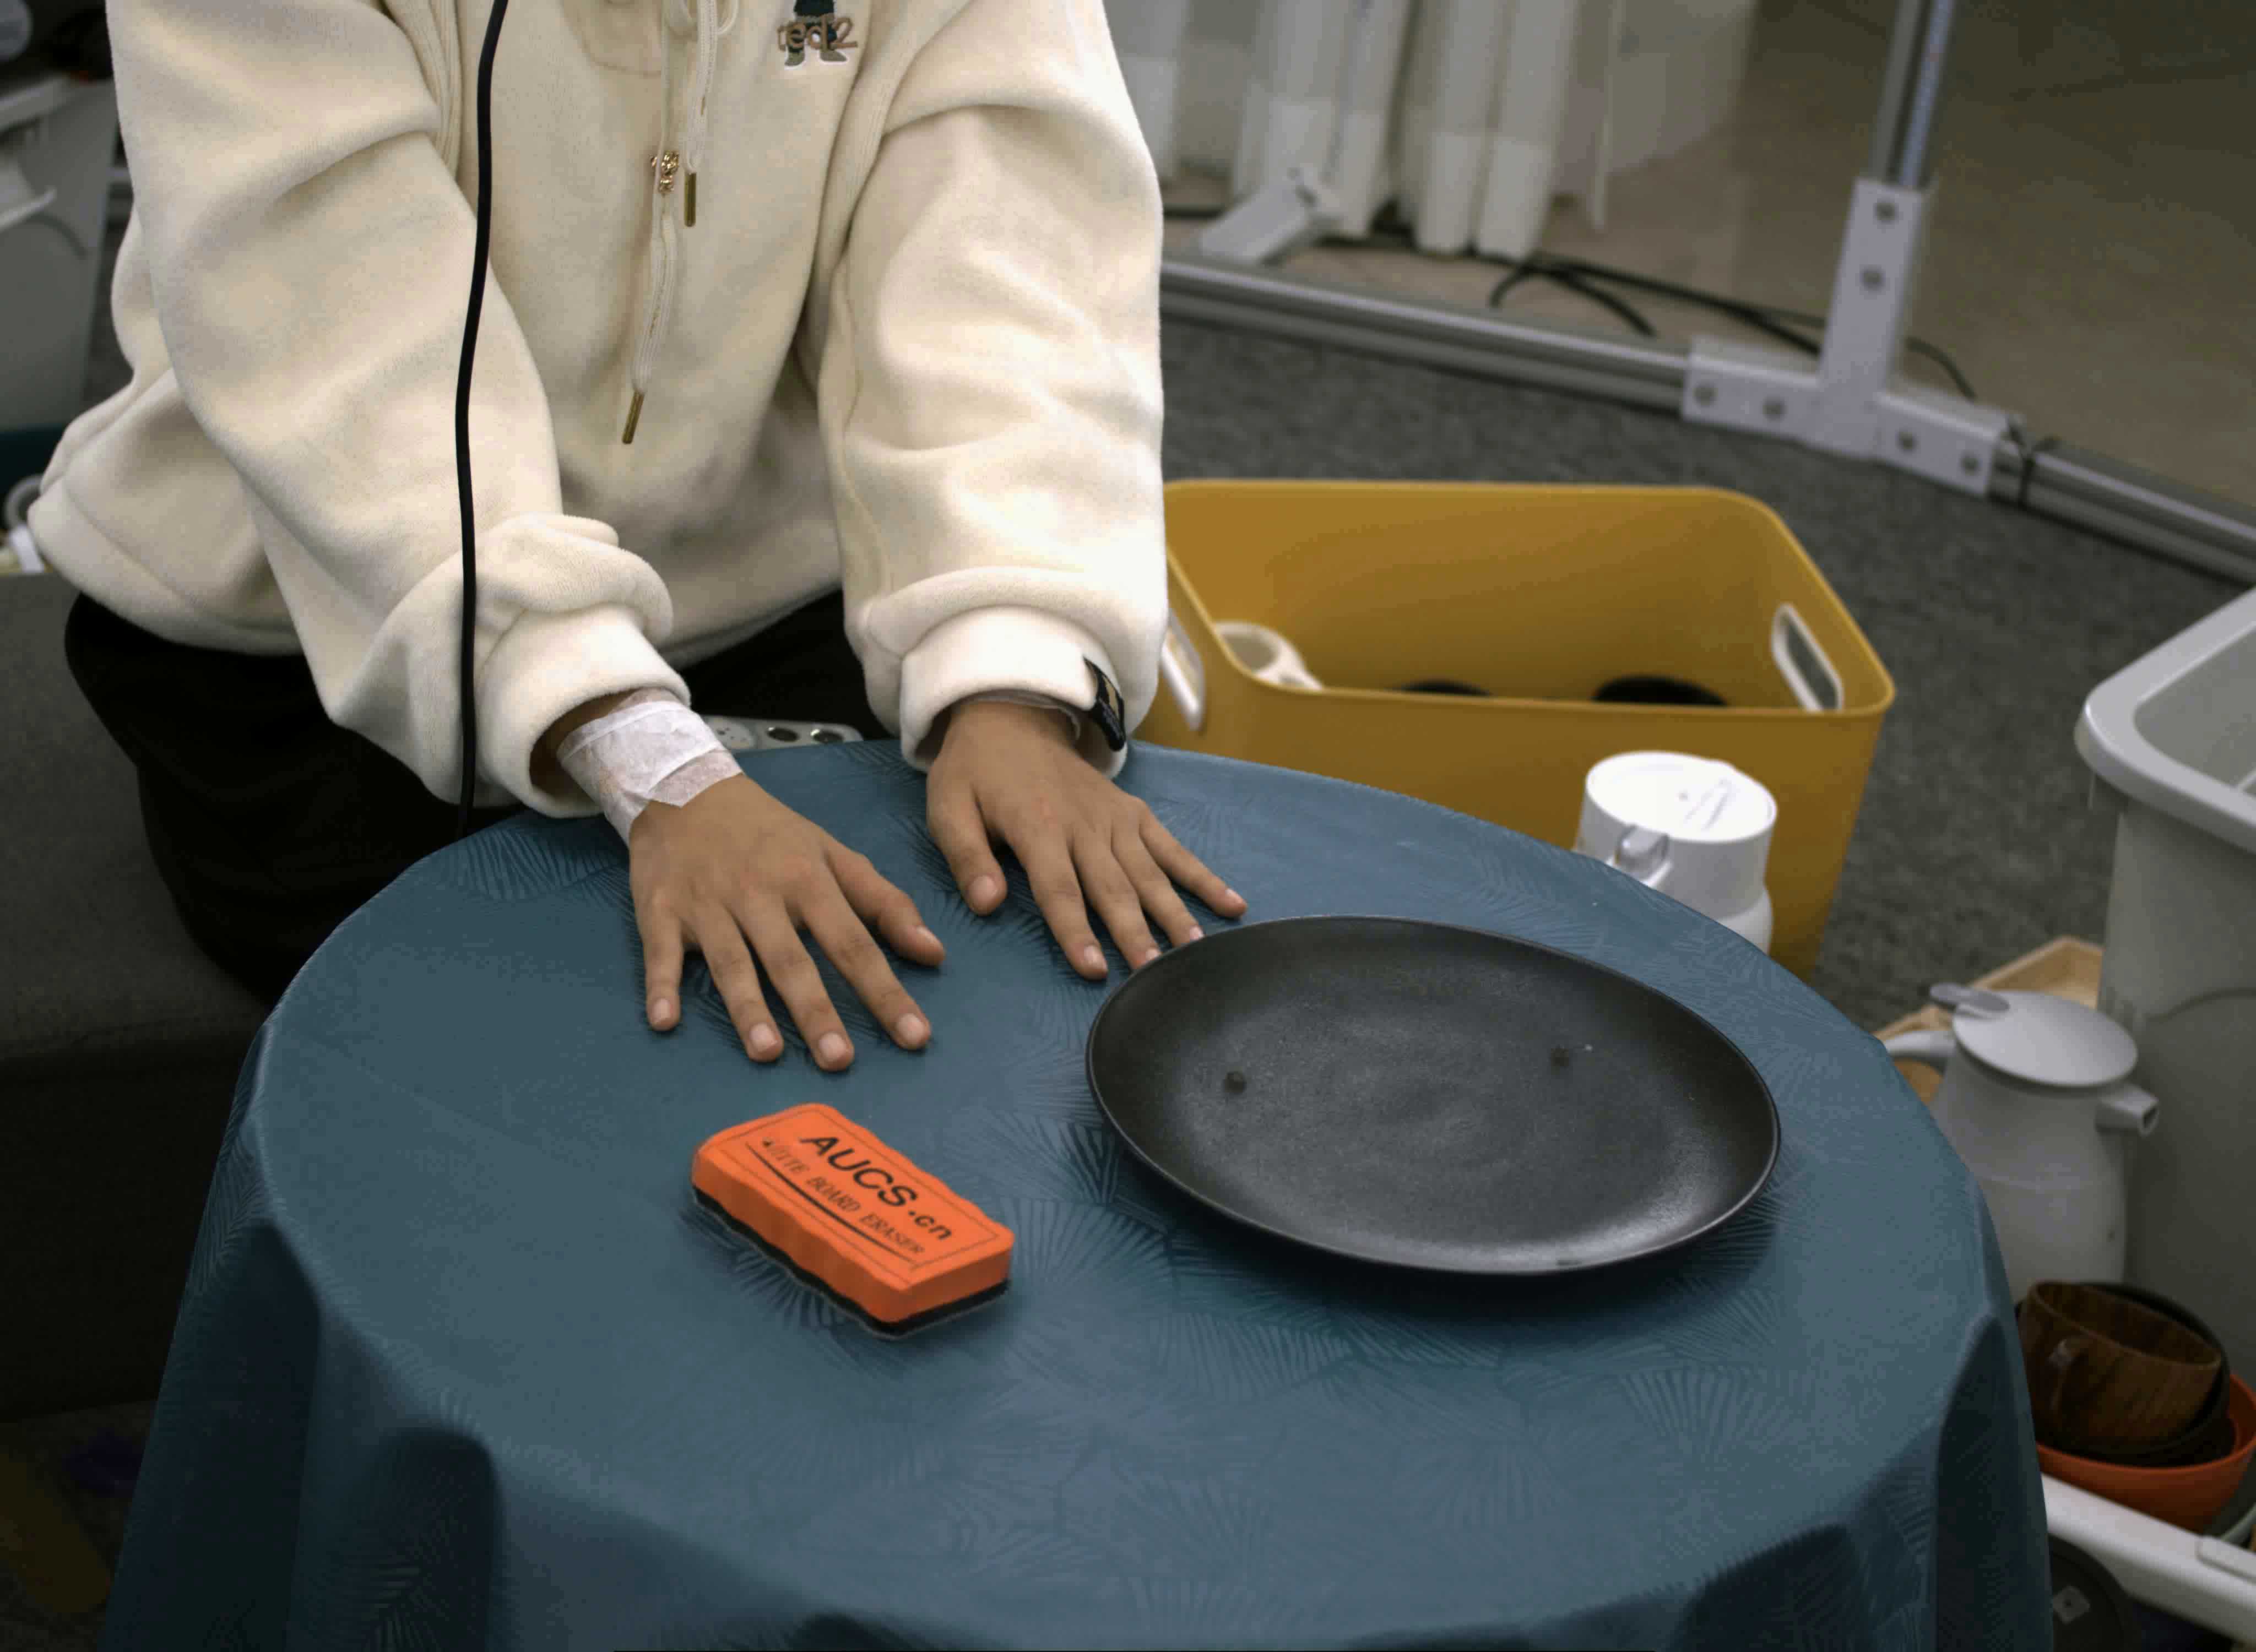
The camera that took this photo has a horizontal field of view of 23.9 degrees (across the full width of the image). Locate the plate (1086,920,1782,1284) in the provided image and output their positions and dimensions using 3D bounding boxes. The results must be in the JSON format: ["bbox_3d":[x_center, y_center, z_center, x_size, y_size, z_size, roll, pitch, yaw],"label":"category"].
[{"bbox_3d":[0.105,0.099,1.848,0.243,0.023,0.246,5,27,-3],"label":"plate"}]

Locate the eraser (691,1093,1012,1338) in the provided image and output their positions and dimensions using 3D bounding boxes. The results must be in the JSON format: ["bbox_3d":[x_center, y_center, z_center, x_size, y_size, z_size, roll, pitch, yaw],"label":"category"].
[{"bbox_3d":[-0.091,0.127,1.744,0.058,0.023,0.109,-19,39,-38],"label":"eraser"}]
